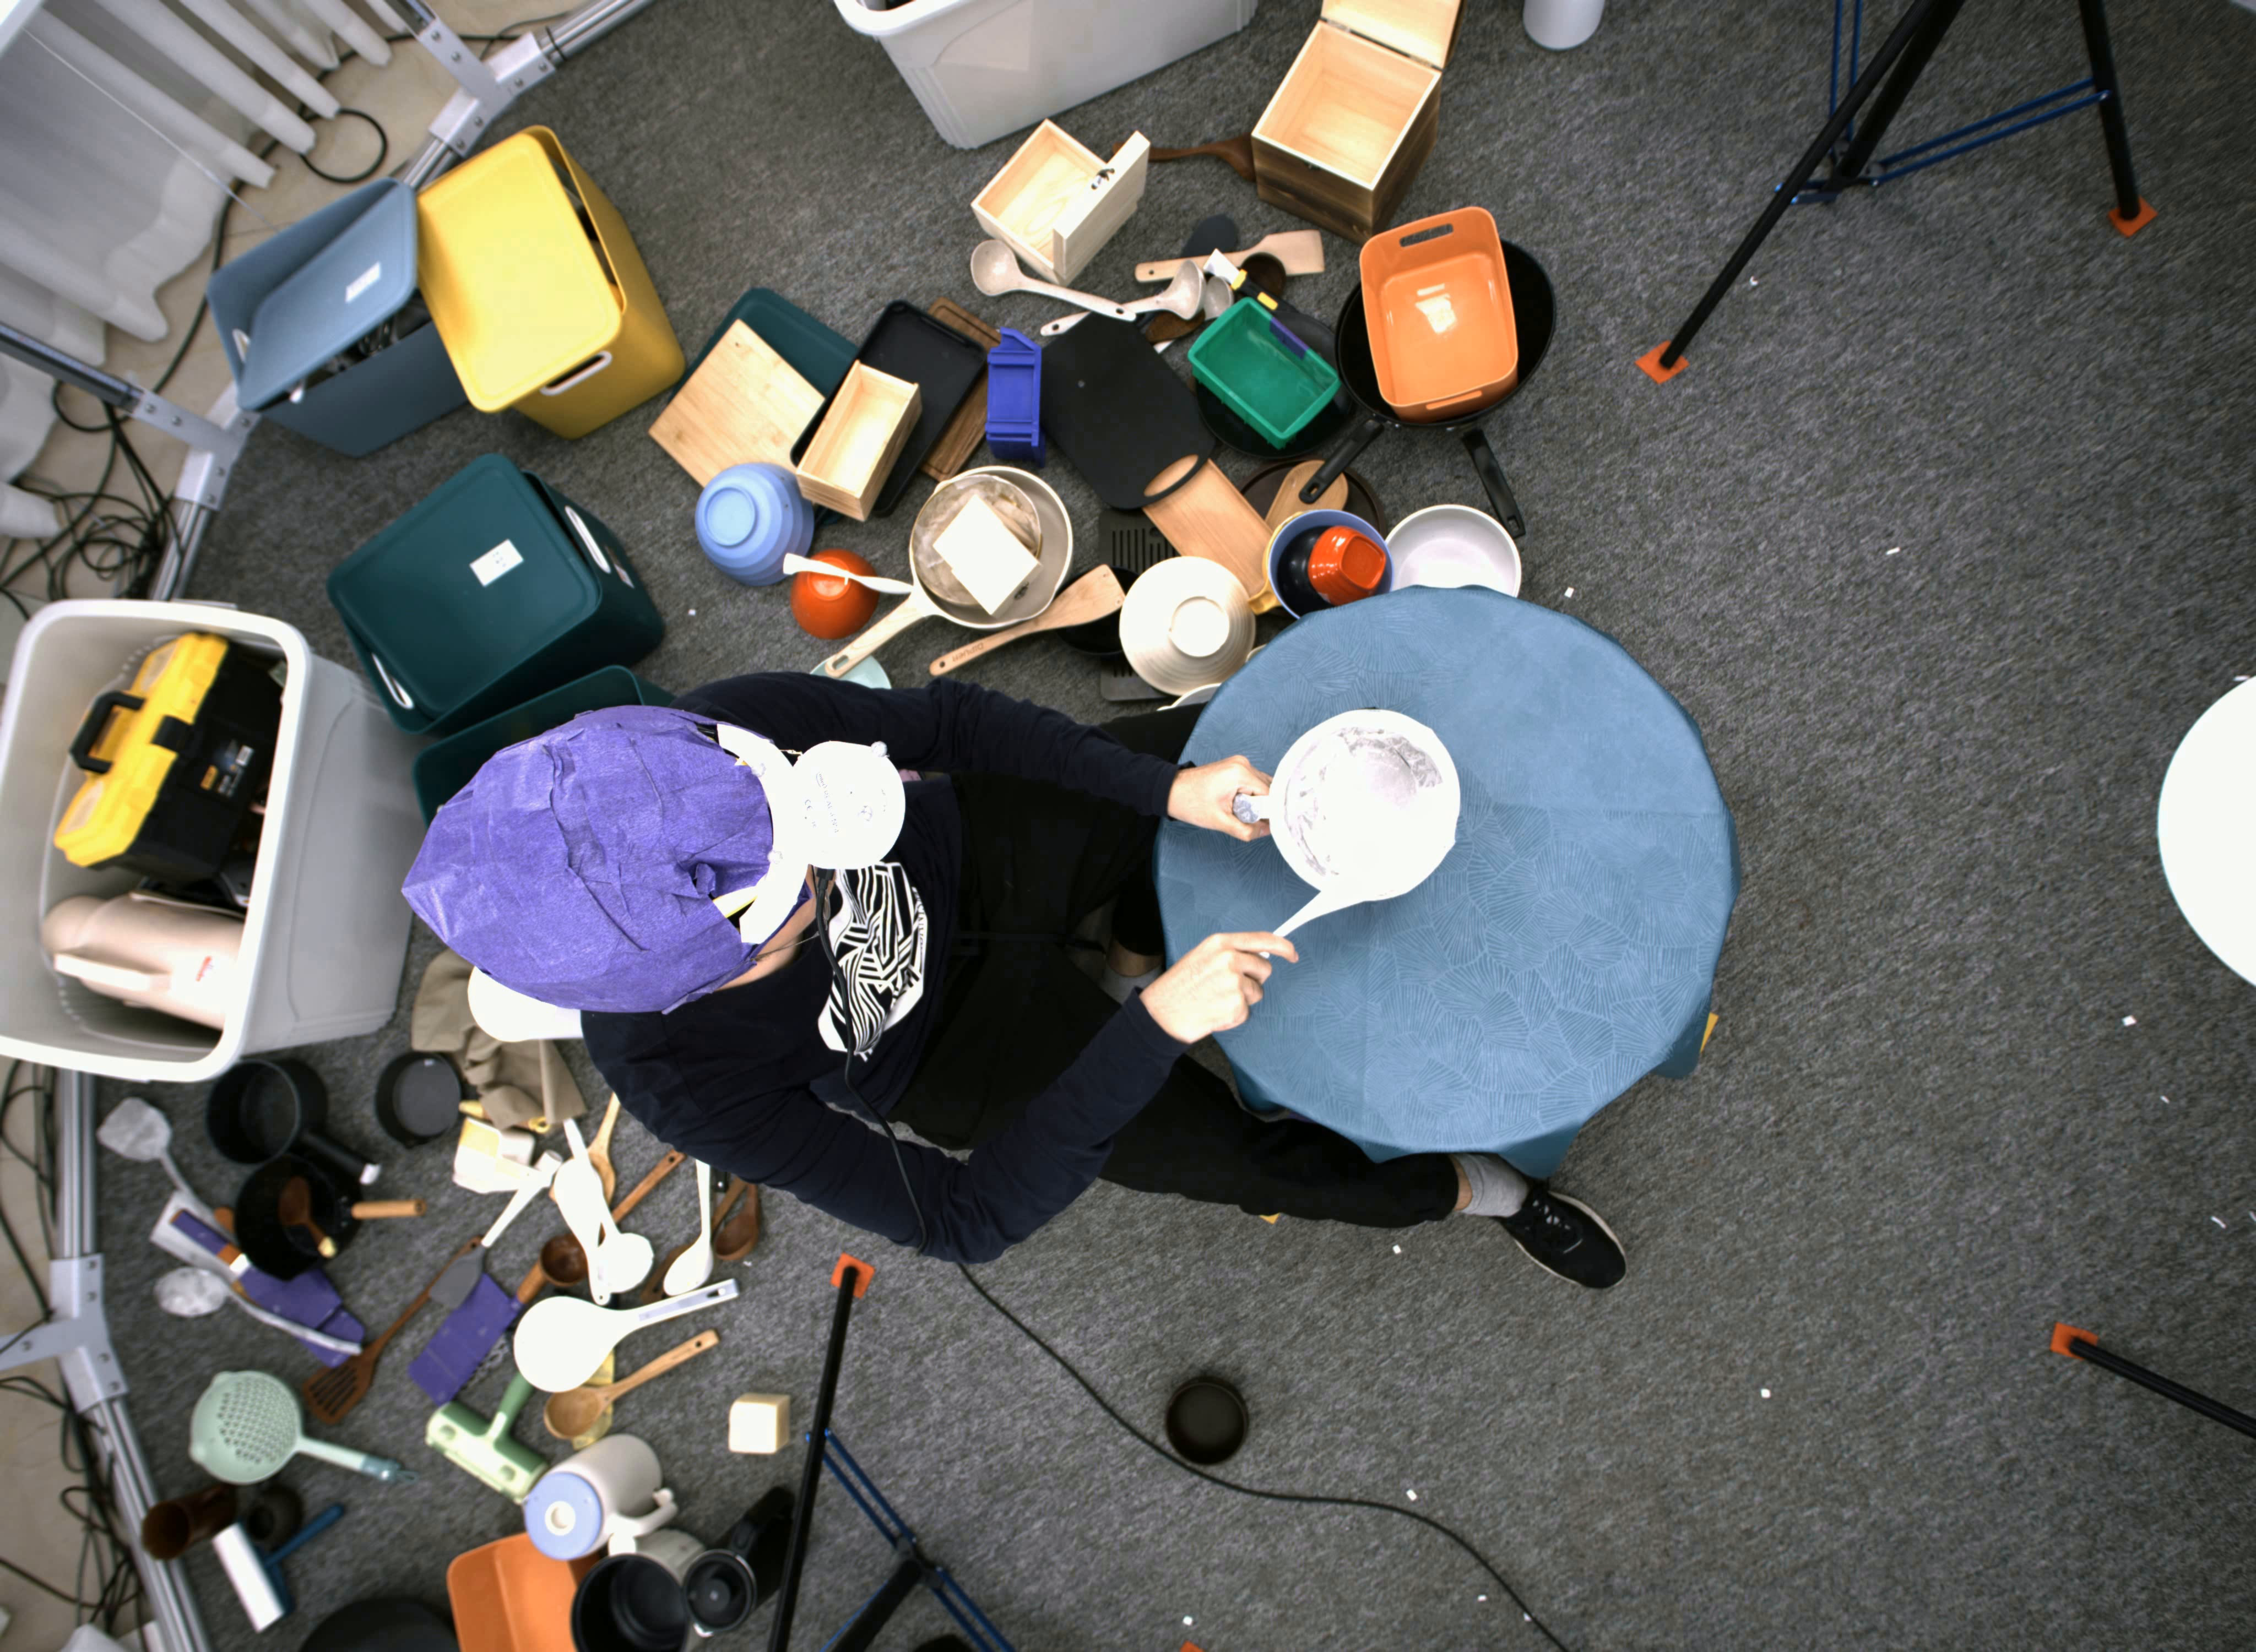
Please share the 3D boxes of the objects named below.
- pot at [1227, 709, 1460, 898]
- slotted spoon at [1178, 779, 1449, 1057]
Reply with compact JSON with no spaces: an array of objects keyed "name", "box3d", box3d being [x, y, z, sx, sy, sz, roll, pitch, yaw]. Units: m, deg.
[{"name":"pot","box3d":[0.208,-0.025,1.357,0.235,0.135,0.179,-4,95,15]},{"name":"slotted spoon","box3d":[0.168,0.083,1.247,0.346,0.138,0.050,-36,74,-7]}]
